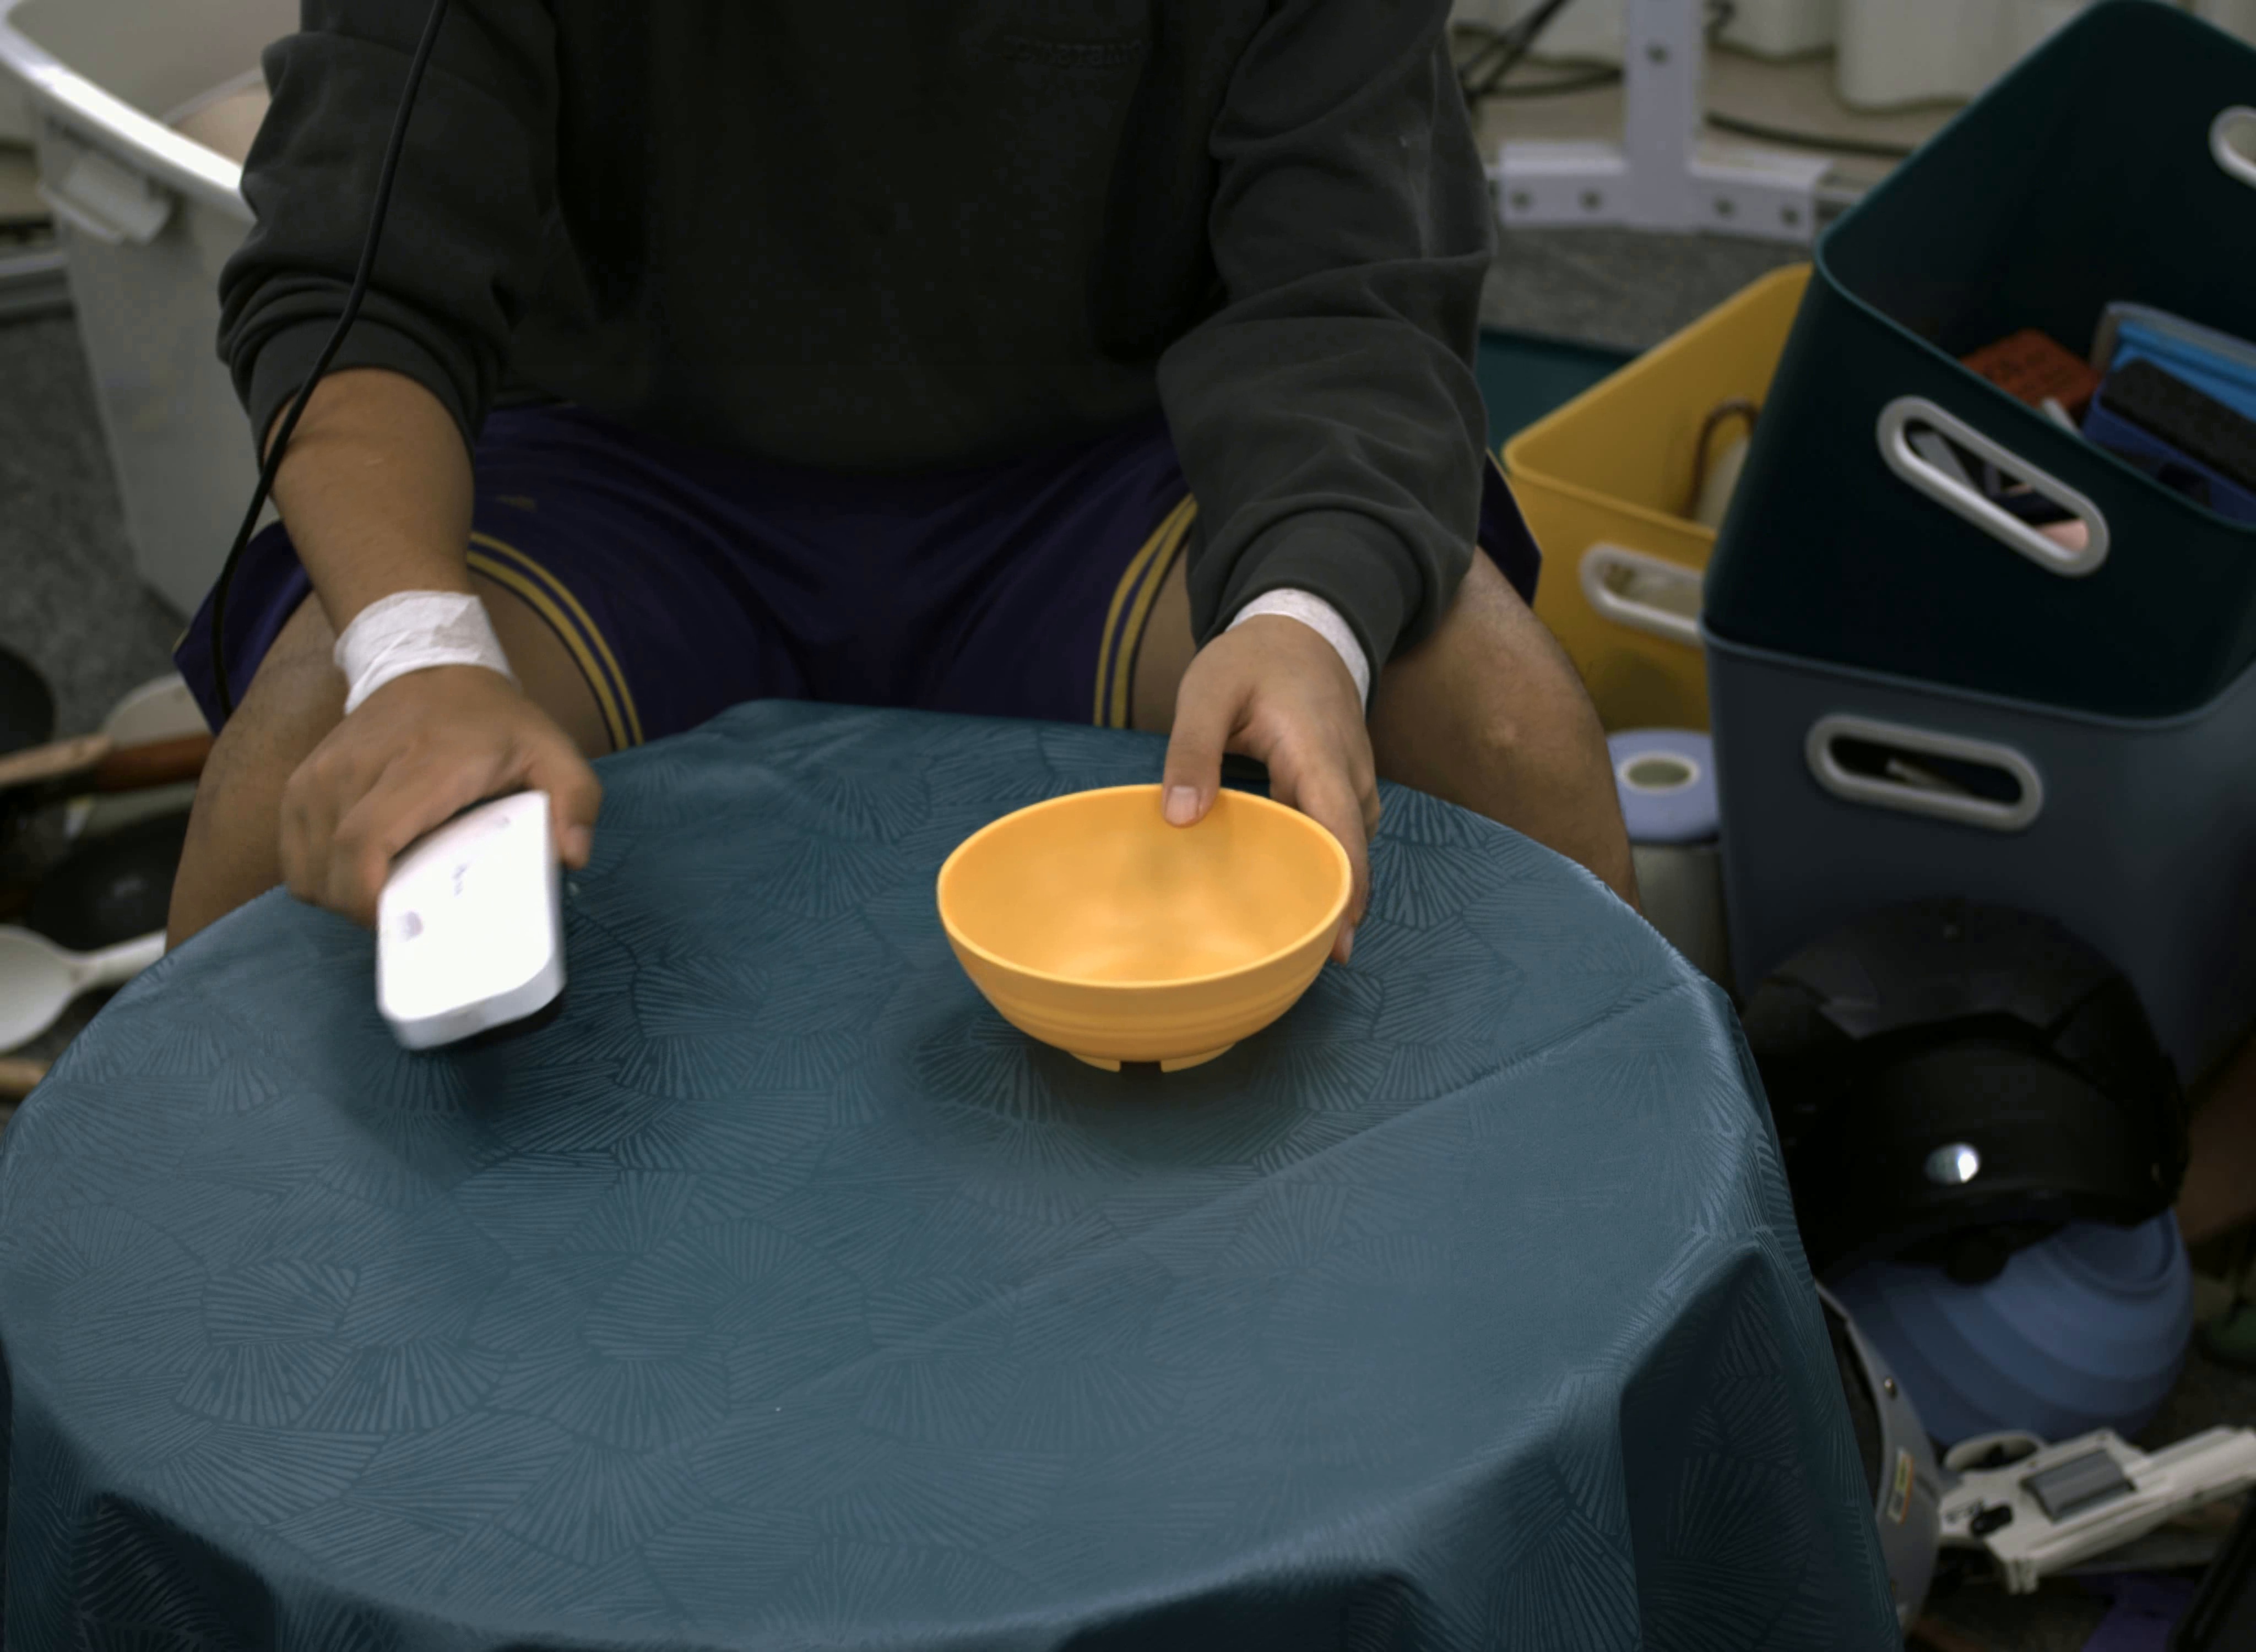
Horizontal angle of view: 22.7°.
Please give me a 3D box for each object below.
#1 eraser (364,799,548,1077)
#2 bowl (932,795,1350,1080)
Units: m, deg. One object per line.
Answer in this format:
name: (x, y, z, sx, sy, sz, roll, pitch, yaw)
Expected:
eraser: (-0.231, 0.036, 1.950, 0.063, 0.034, 0.133, -16, 32, 4)
bowl: (0.005, 0.047, 1.948, 0.144, 0.059, 0.147, -1, 25, 1)
